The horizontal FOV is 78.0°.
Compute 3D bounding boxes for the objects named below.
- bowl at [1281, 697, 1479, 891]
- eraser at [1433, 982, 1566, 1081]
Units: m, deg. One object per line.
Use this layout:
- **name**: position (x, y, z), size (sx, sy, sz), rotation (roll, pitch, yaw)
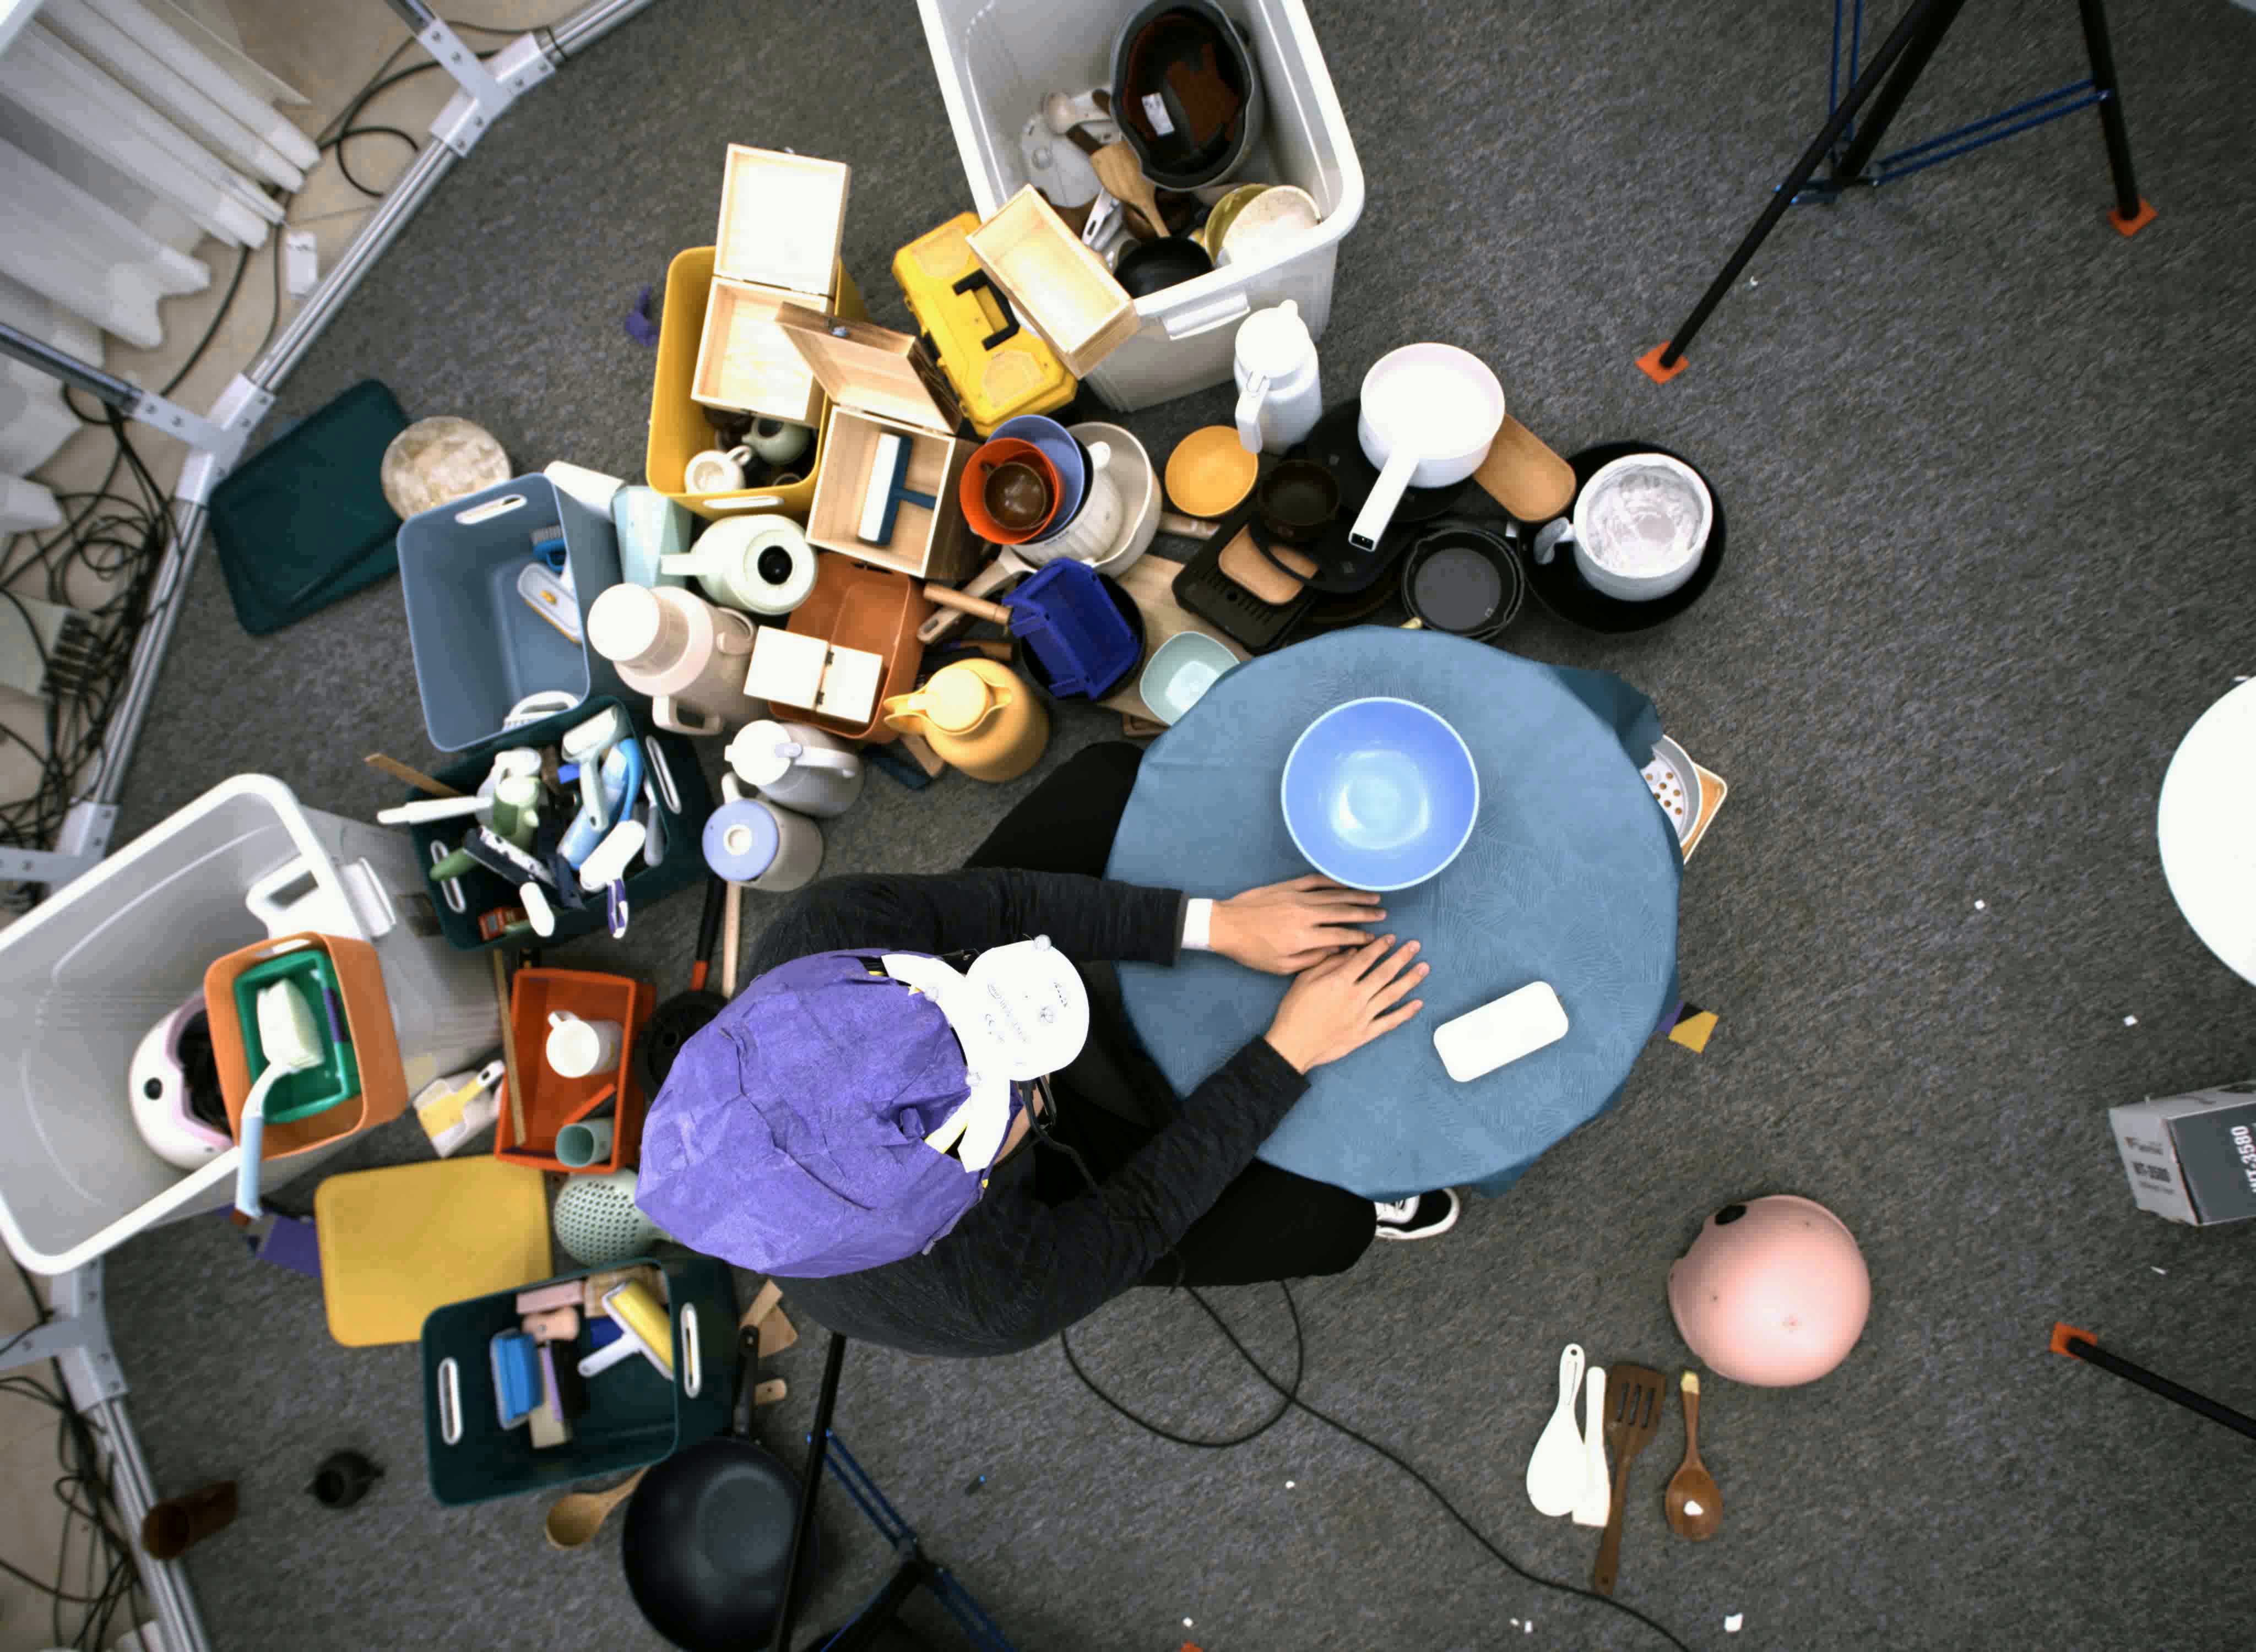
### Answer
- **bowl**: position (0.258, -0.029, 1.420), size (0.197, 0.095, 0.195), rotation (-1, 86, 10)
- **eraser**: position (0.380, 0.208, 1.416), size (0.132, 0.034, 0.063), rotation (-26, 81, 7)
